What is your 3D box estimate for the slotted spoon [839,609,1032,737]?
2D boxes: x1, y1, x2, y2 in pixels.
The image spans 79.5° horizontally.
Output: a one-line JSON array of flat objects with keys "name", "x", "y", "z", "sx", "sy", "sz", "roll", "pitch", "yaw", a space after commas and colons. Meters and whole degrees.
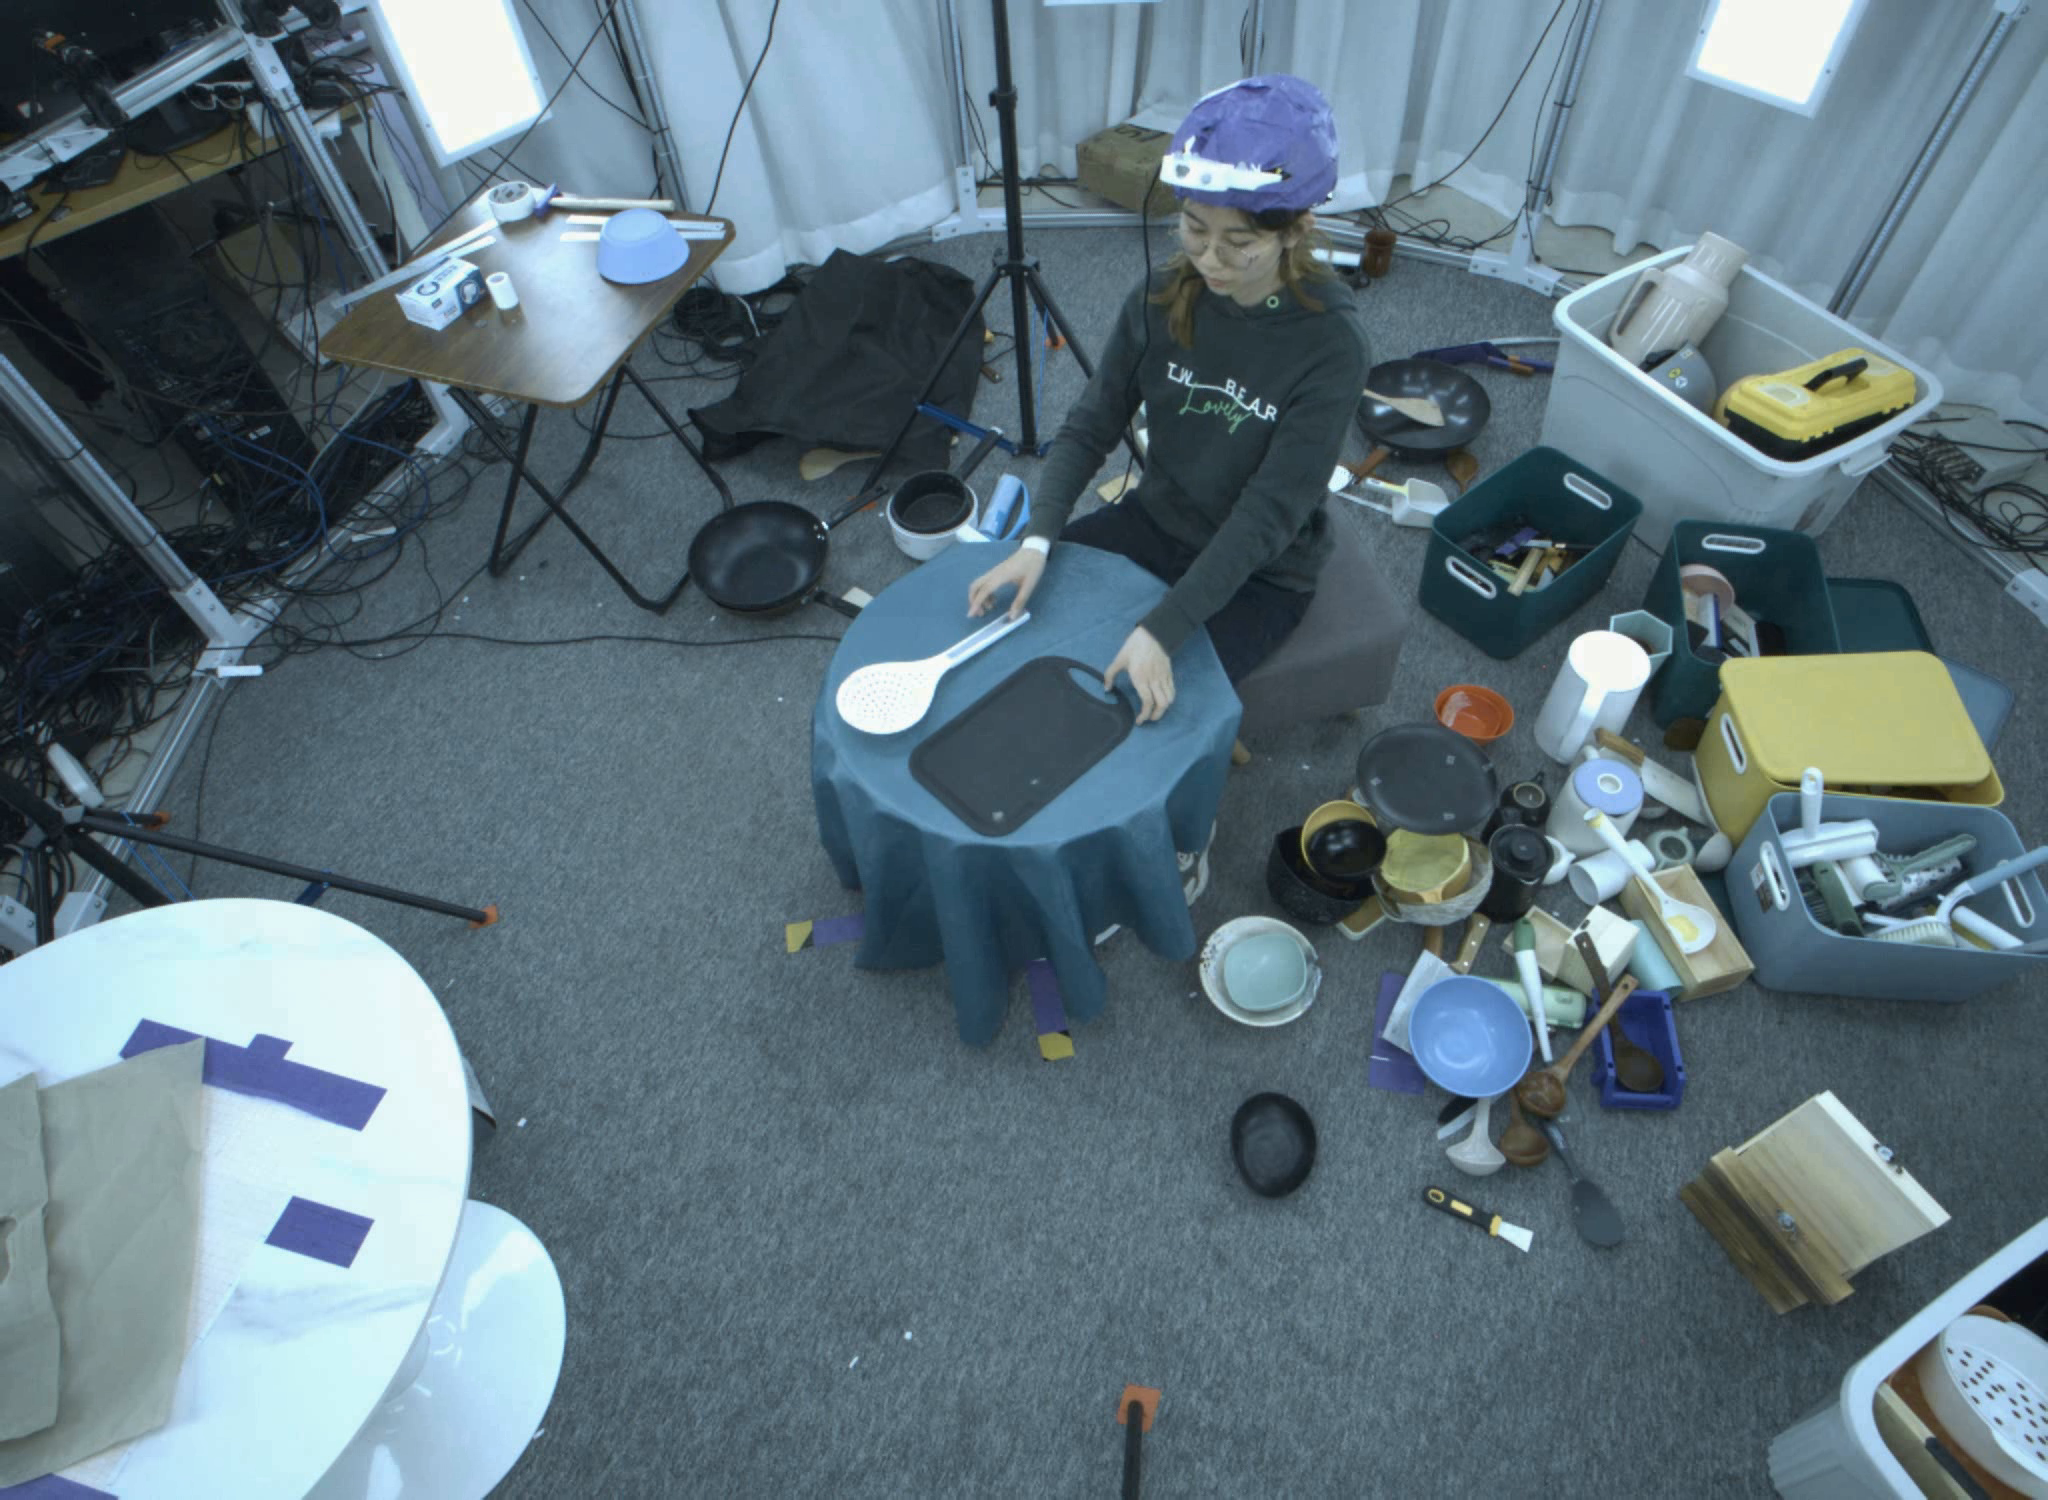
[{"name": "slotted spoon", "x": -0.125, "y": -0.124, "z": 1.861, "sx": 0.352, "sy": 0.046, "sz": 0.134, "roll": -37, "pitch": 64, "yaw": -23}]

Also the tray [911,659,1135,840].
[{"name": "tray", "x": 0.006, "y": -0.014, "z": 1.803, "sx": 0.328, "sy": 0.010, "sz": 0.207, "roll": -38, "pitch": 63, "yaw": -23}]
